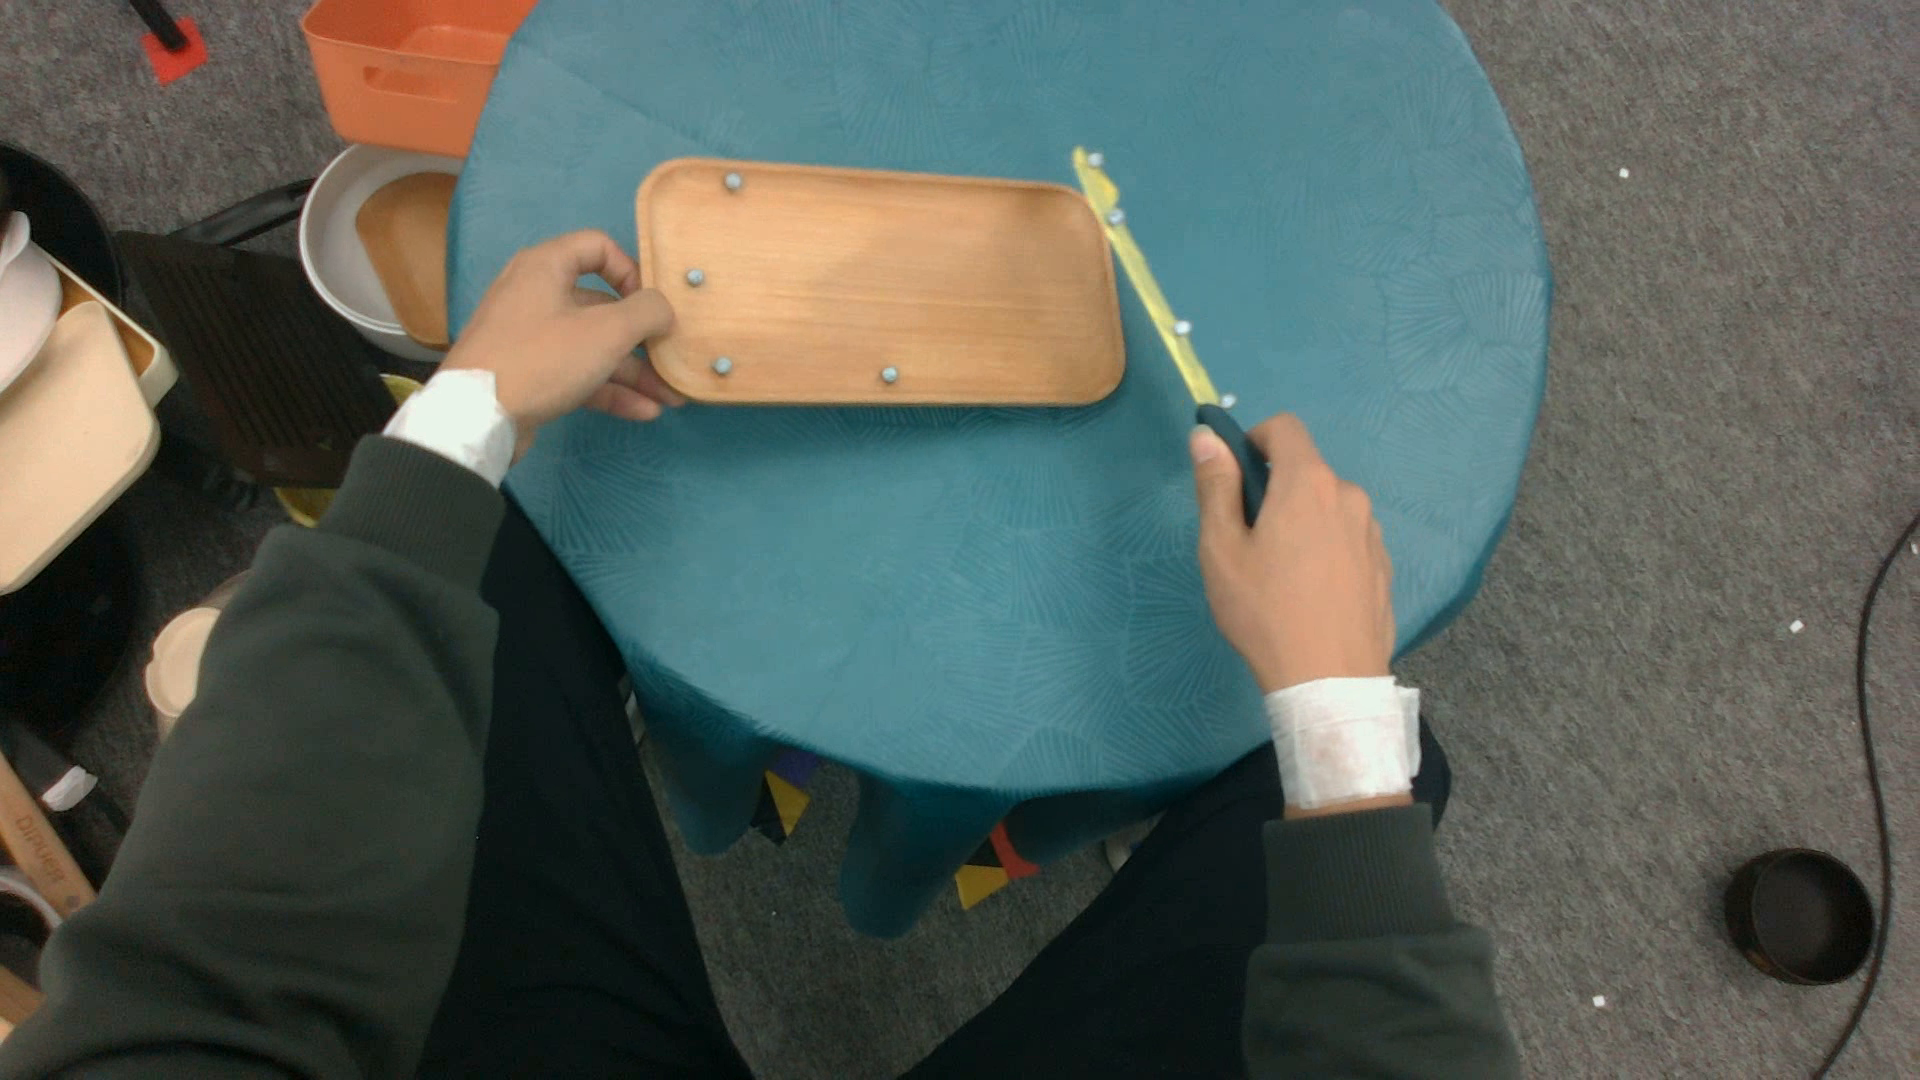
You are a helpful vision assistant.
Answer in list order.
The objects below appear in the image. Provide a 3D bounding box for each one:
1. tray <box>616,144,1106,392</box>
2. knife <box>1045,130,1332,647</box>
[{"bbox_3d":[-0.046,-0.136,0.702,0.251,0.023,0.131,-2,78,-22],"label":"tray"},{"bbox_3d":[0.108,-0.080,0.675,0.027,0.081,0.290,-30,80,20],"label":"knife"}]
